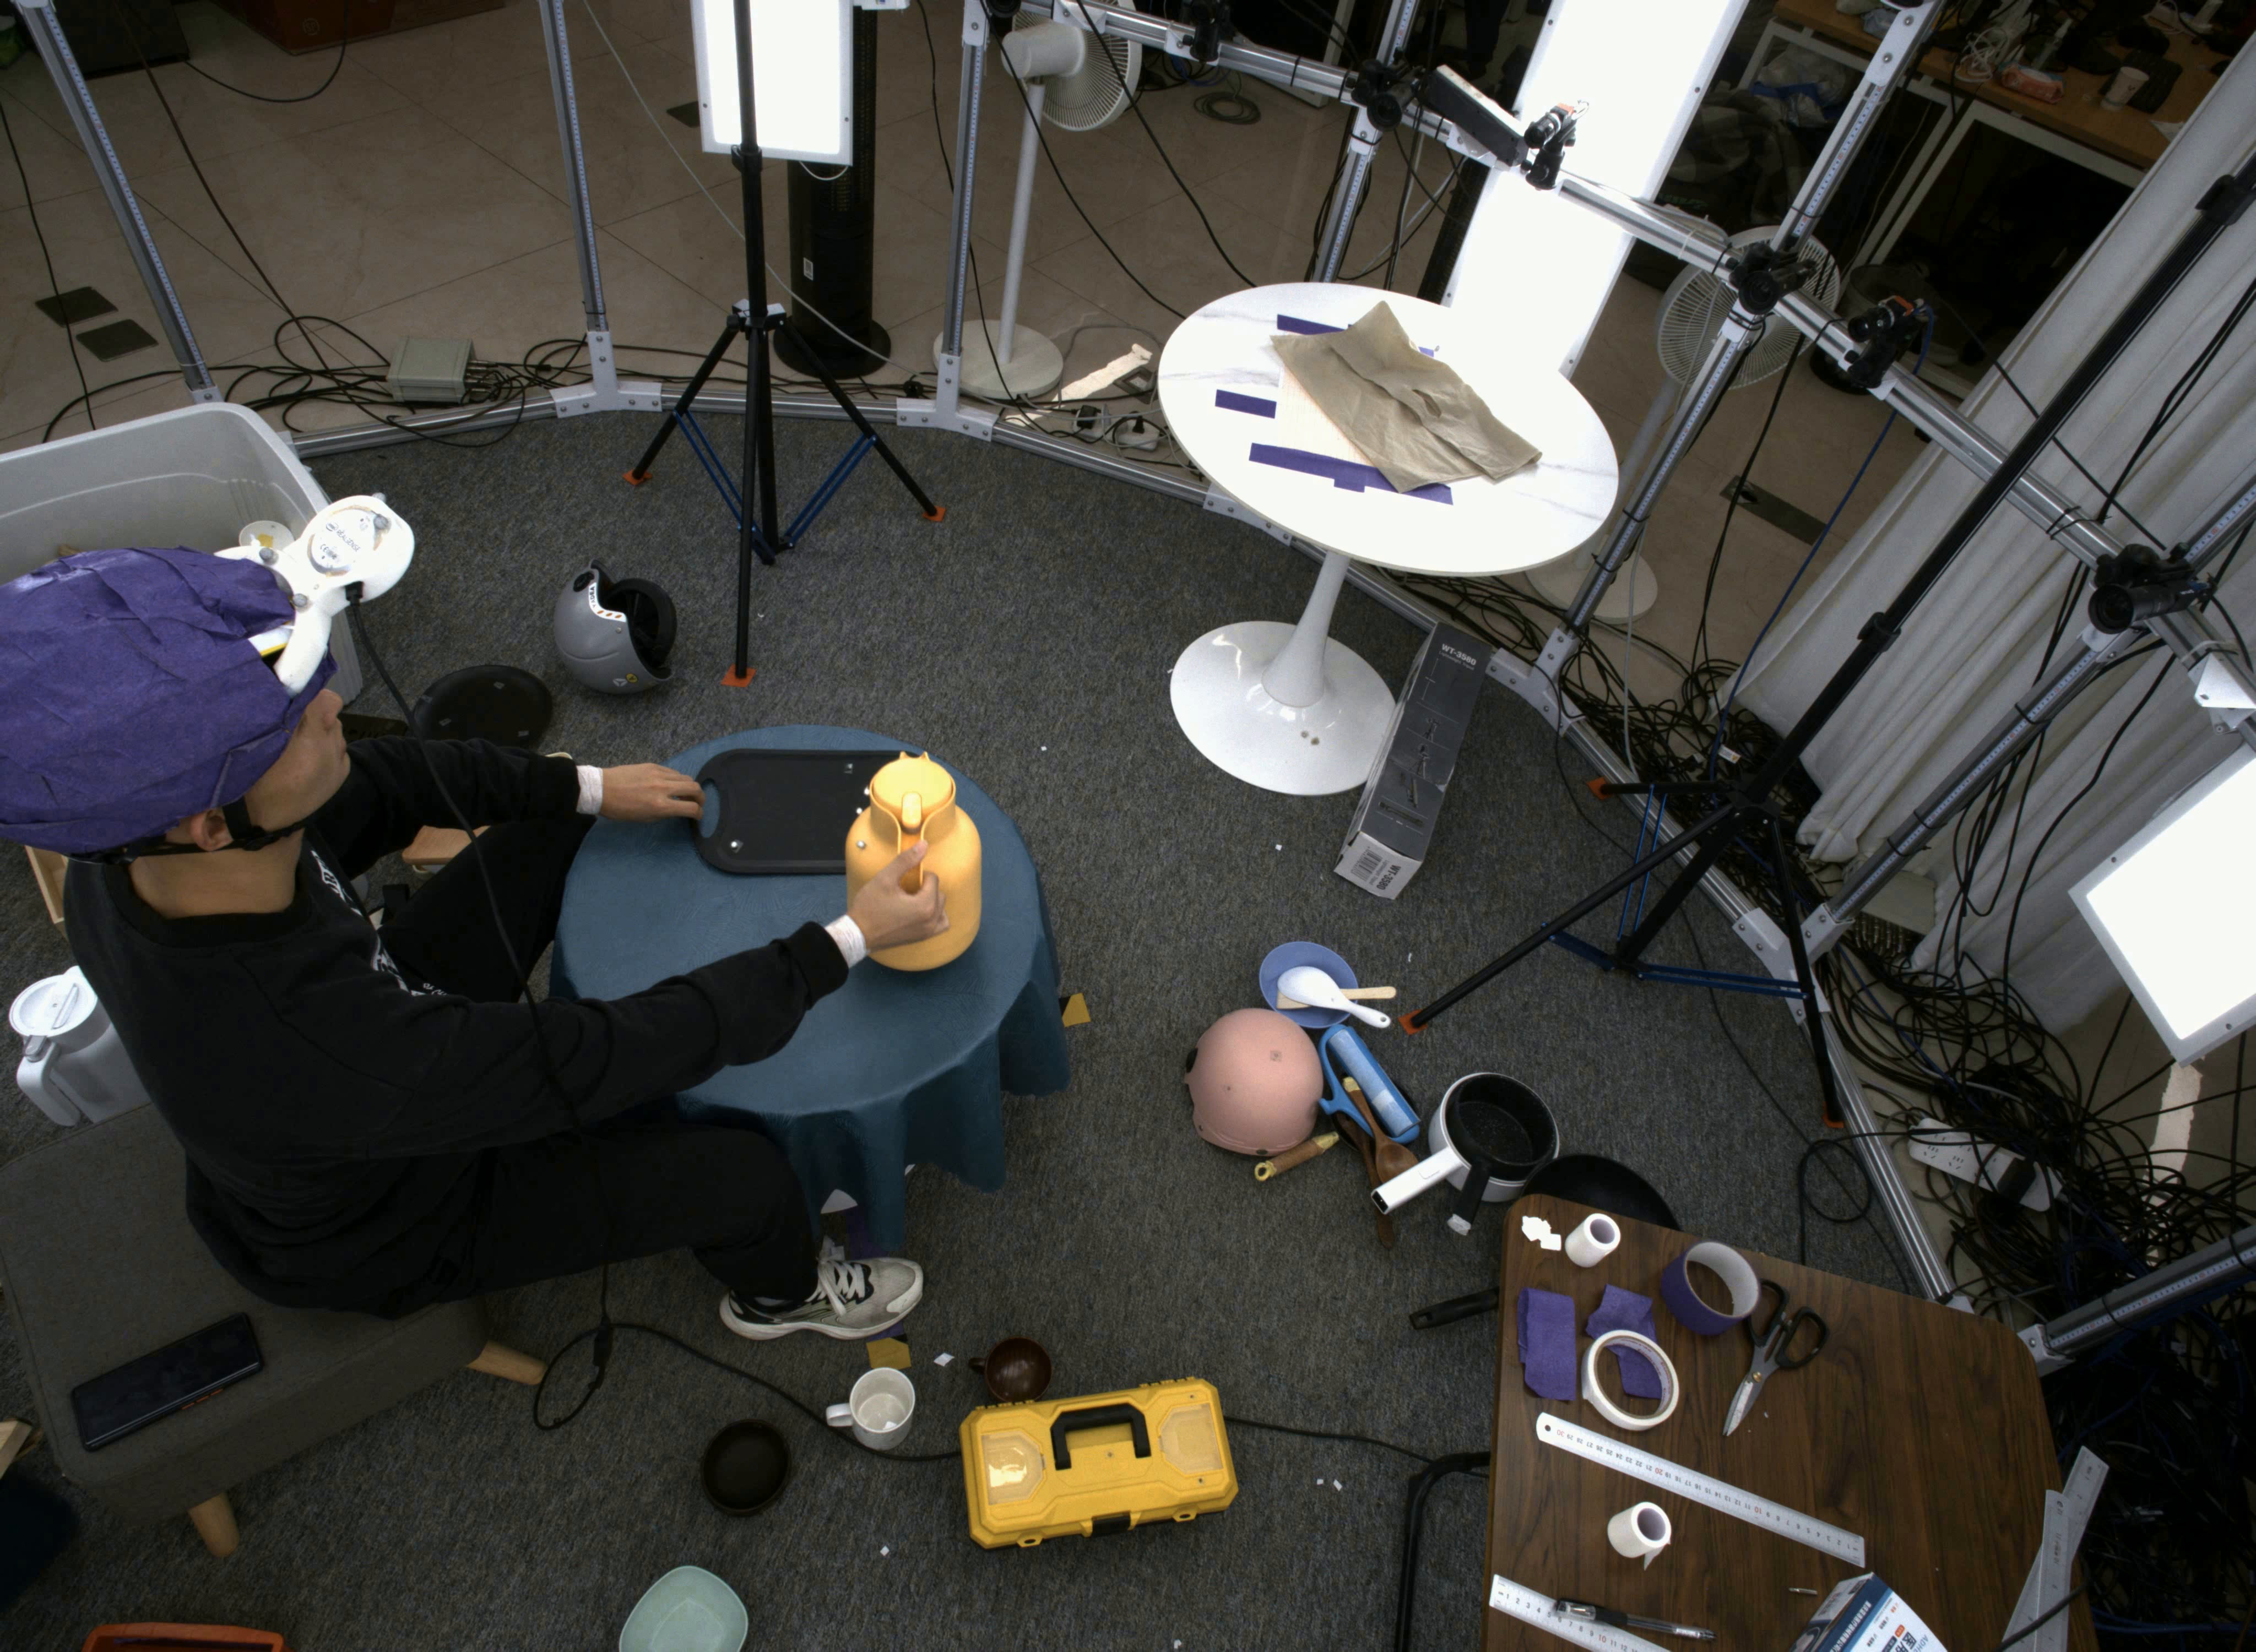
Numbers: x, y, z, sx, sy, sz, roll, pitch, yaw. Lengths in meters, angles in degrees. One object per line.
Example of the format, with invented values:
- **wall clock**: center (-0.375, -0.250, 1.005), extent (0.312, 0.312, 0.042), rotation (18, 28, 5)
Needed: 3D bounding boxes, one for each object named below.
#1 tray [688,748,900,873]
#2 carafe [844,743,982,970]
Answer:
- **tray**: center (-0.420, -0.024, 1.733), extent (0.326, 0.010, 0.206), rotation (1, 53, -16)
- **carafe**: center (-0.256, 0.047, 1.529), extent (0.162, 0.268, 0.197), rotation (0, 42, -5)
